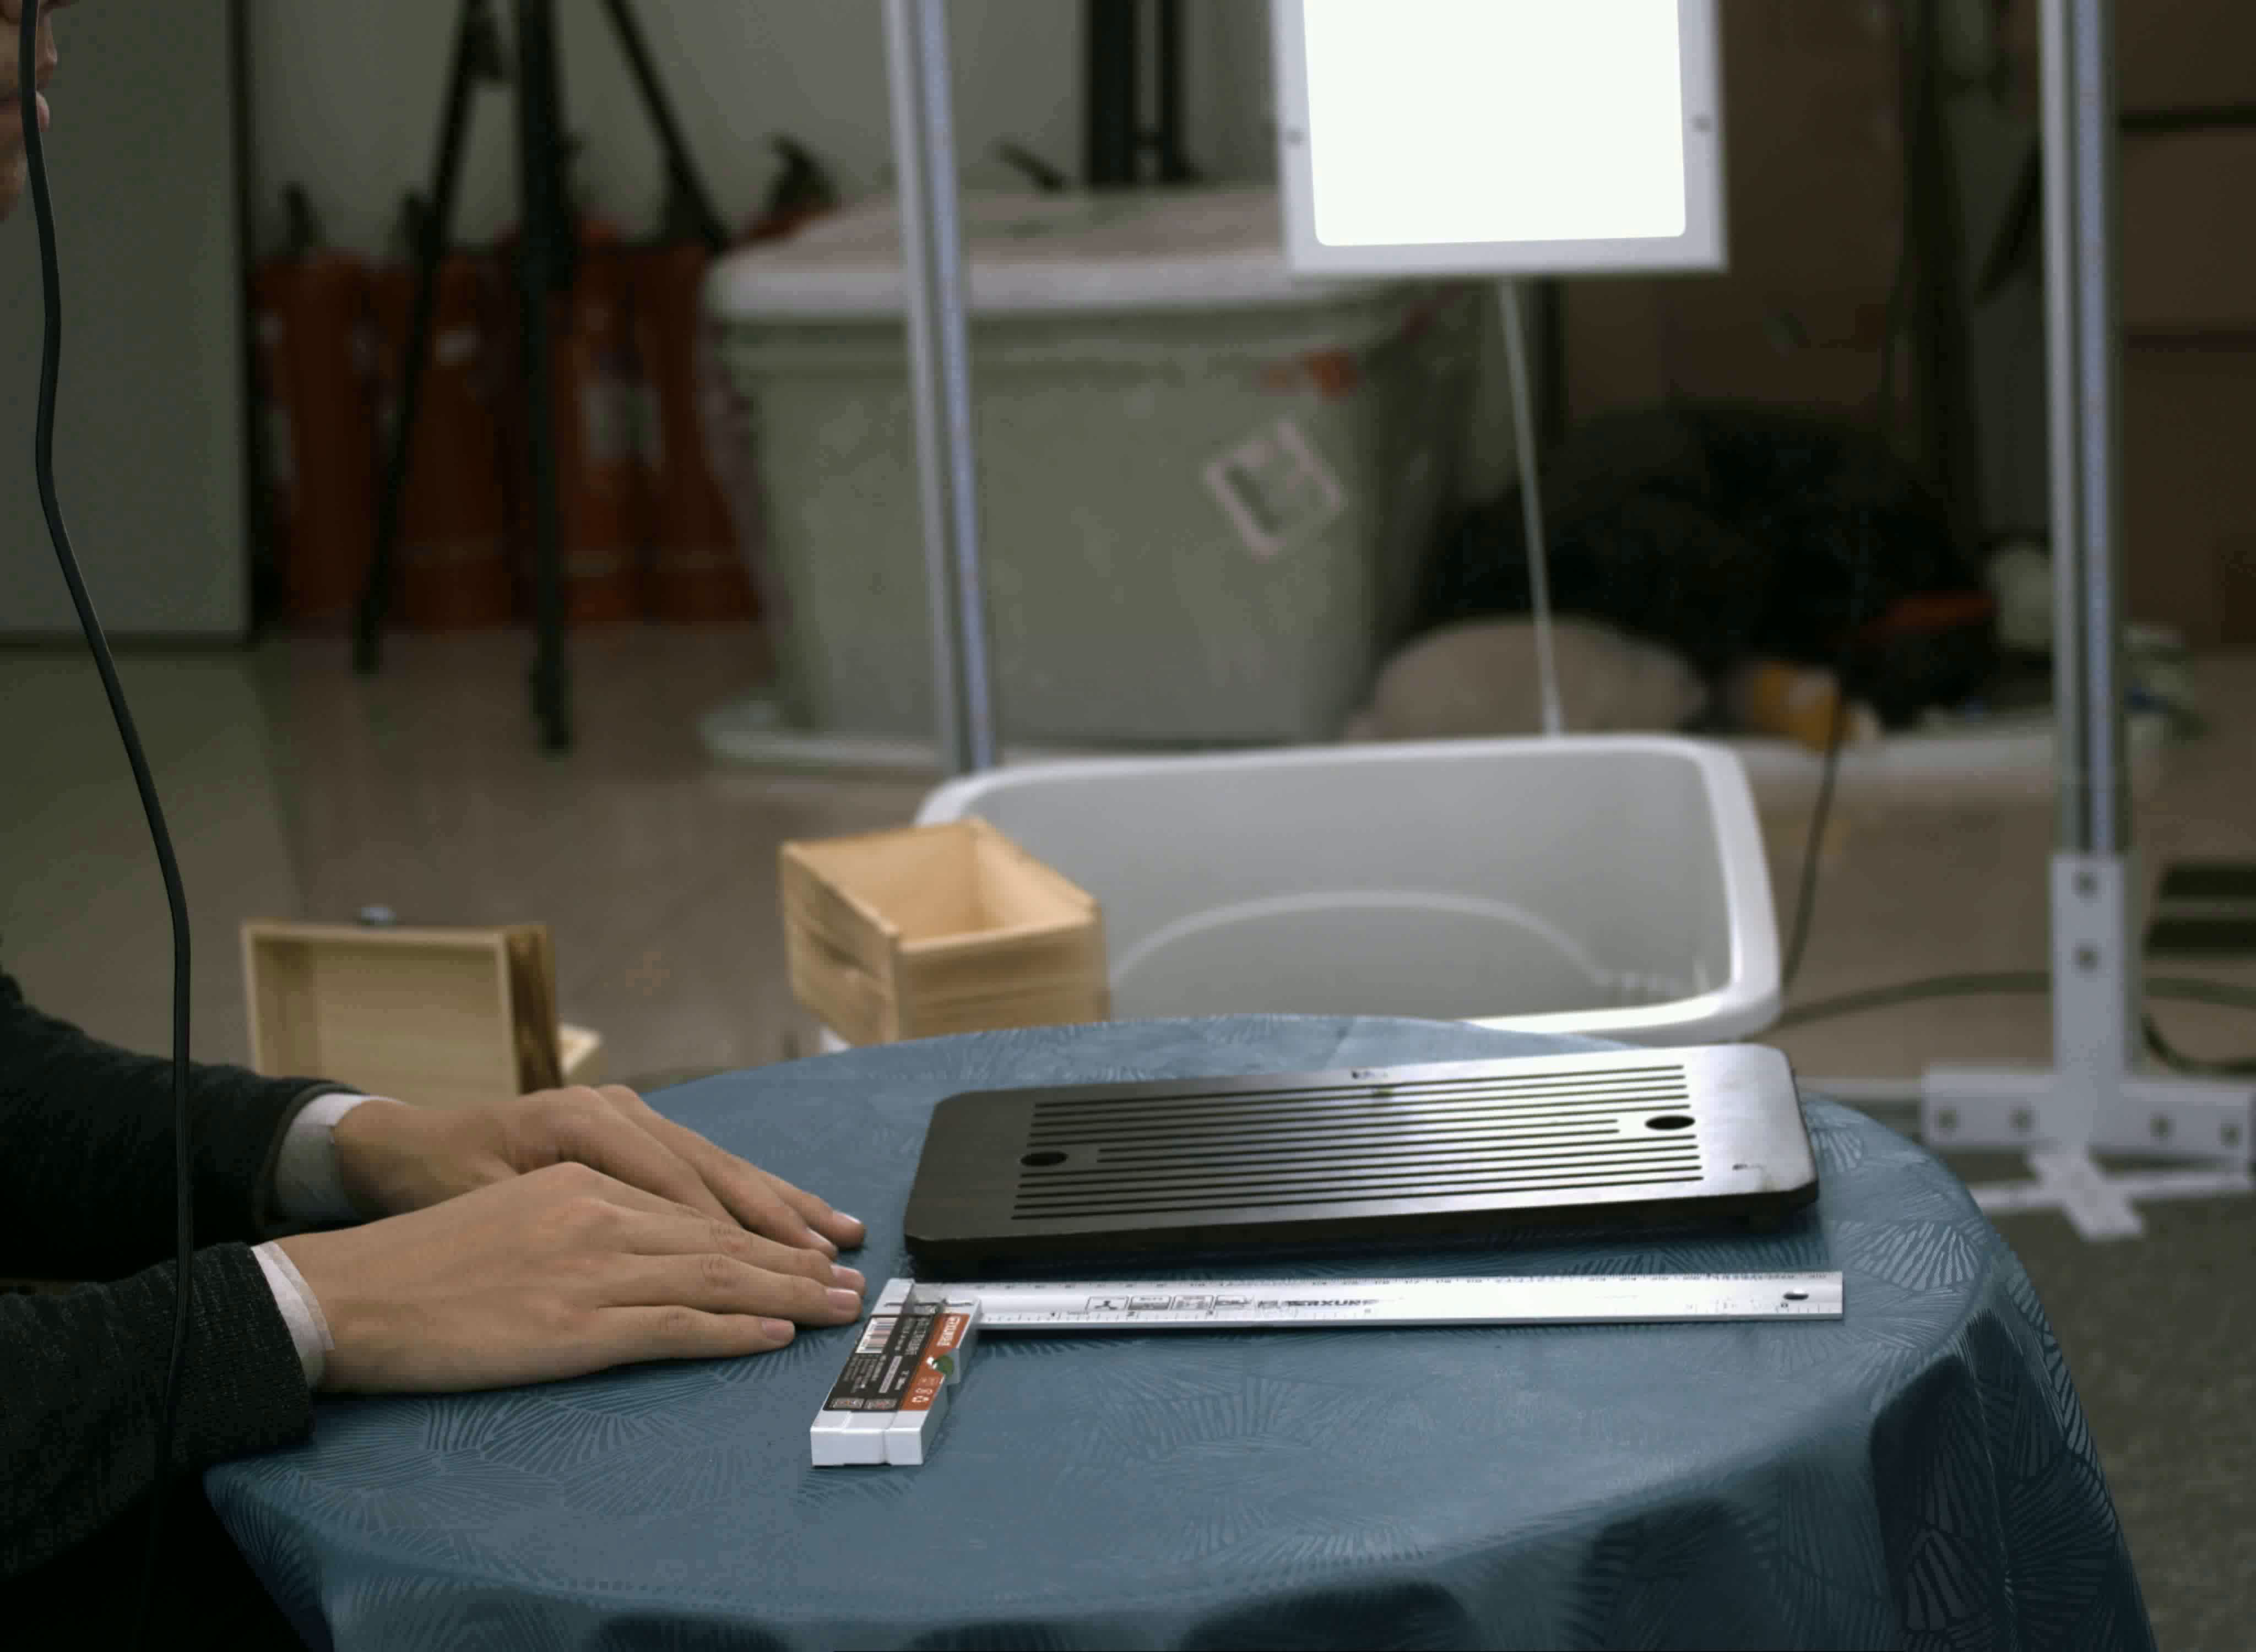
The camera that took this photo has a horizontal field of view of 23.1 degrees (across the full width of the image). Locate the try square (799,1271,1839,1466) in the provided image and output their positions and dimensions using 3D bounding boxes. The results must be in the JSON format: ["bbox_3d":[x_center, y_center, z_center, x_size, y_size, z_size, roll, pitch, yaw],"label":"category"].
[{"bbox_3d":[0.063,0.164,1.702,0.315,0.016,0.151,-2,14,10],"label":"try square"}]

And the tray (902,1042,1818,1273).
[{"bbox_3d":[0.080,0.113,1.884,0.306,0.019,0.169,-4,14,6],"label":"tray"}]
